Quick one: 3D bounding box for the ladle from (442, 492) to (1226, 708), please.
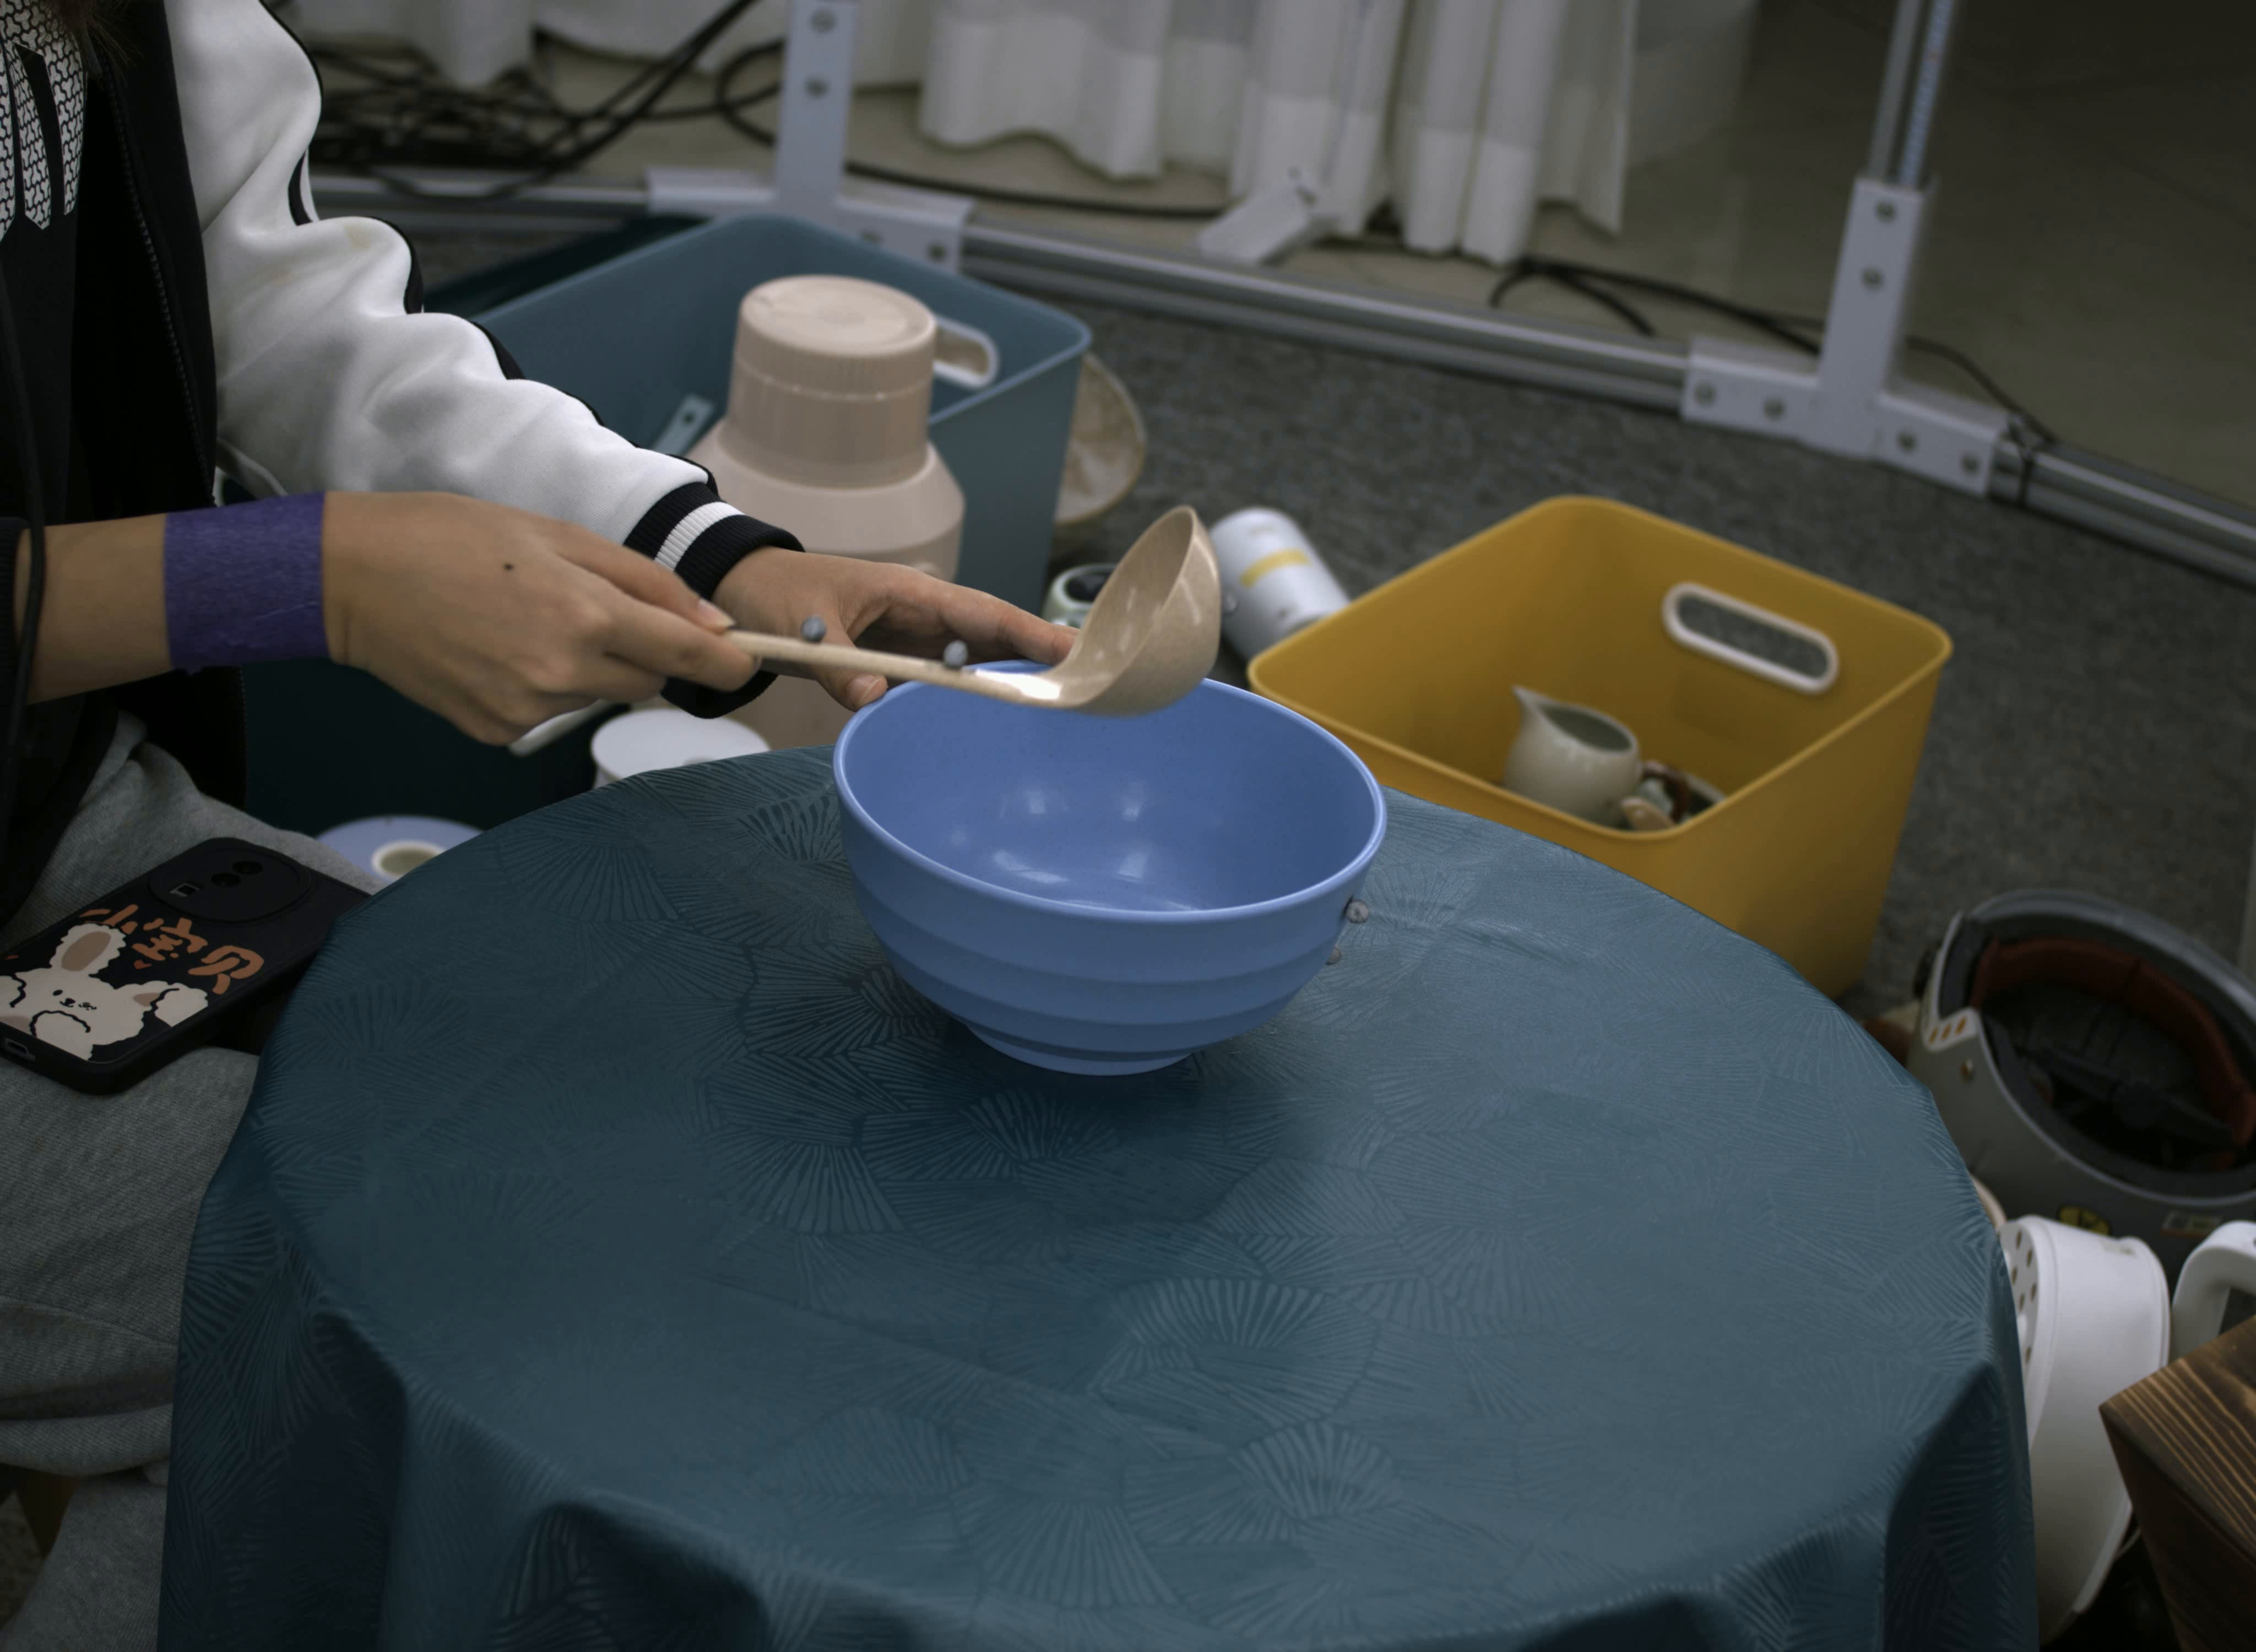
[{"bbox_3d":[-0.094,-0.082,1.736,0.253,0.072,0.072,4,22,-11],"label":"ladle"}]

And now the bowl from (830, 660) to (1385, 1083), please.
[{"bbox_3d":[-0.011,0.028,1.890,0.196,0.095,0.198,4,28,-3],"label":"bowl"}]
